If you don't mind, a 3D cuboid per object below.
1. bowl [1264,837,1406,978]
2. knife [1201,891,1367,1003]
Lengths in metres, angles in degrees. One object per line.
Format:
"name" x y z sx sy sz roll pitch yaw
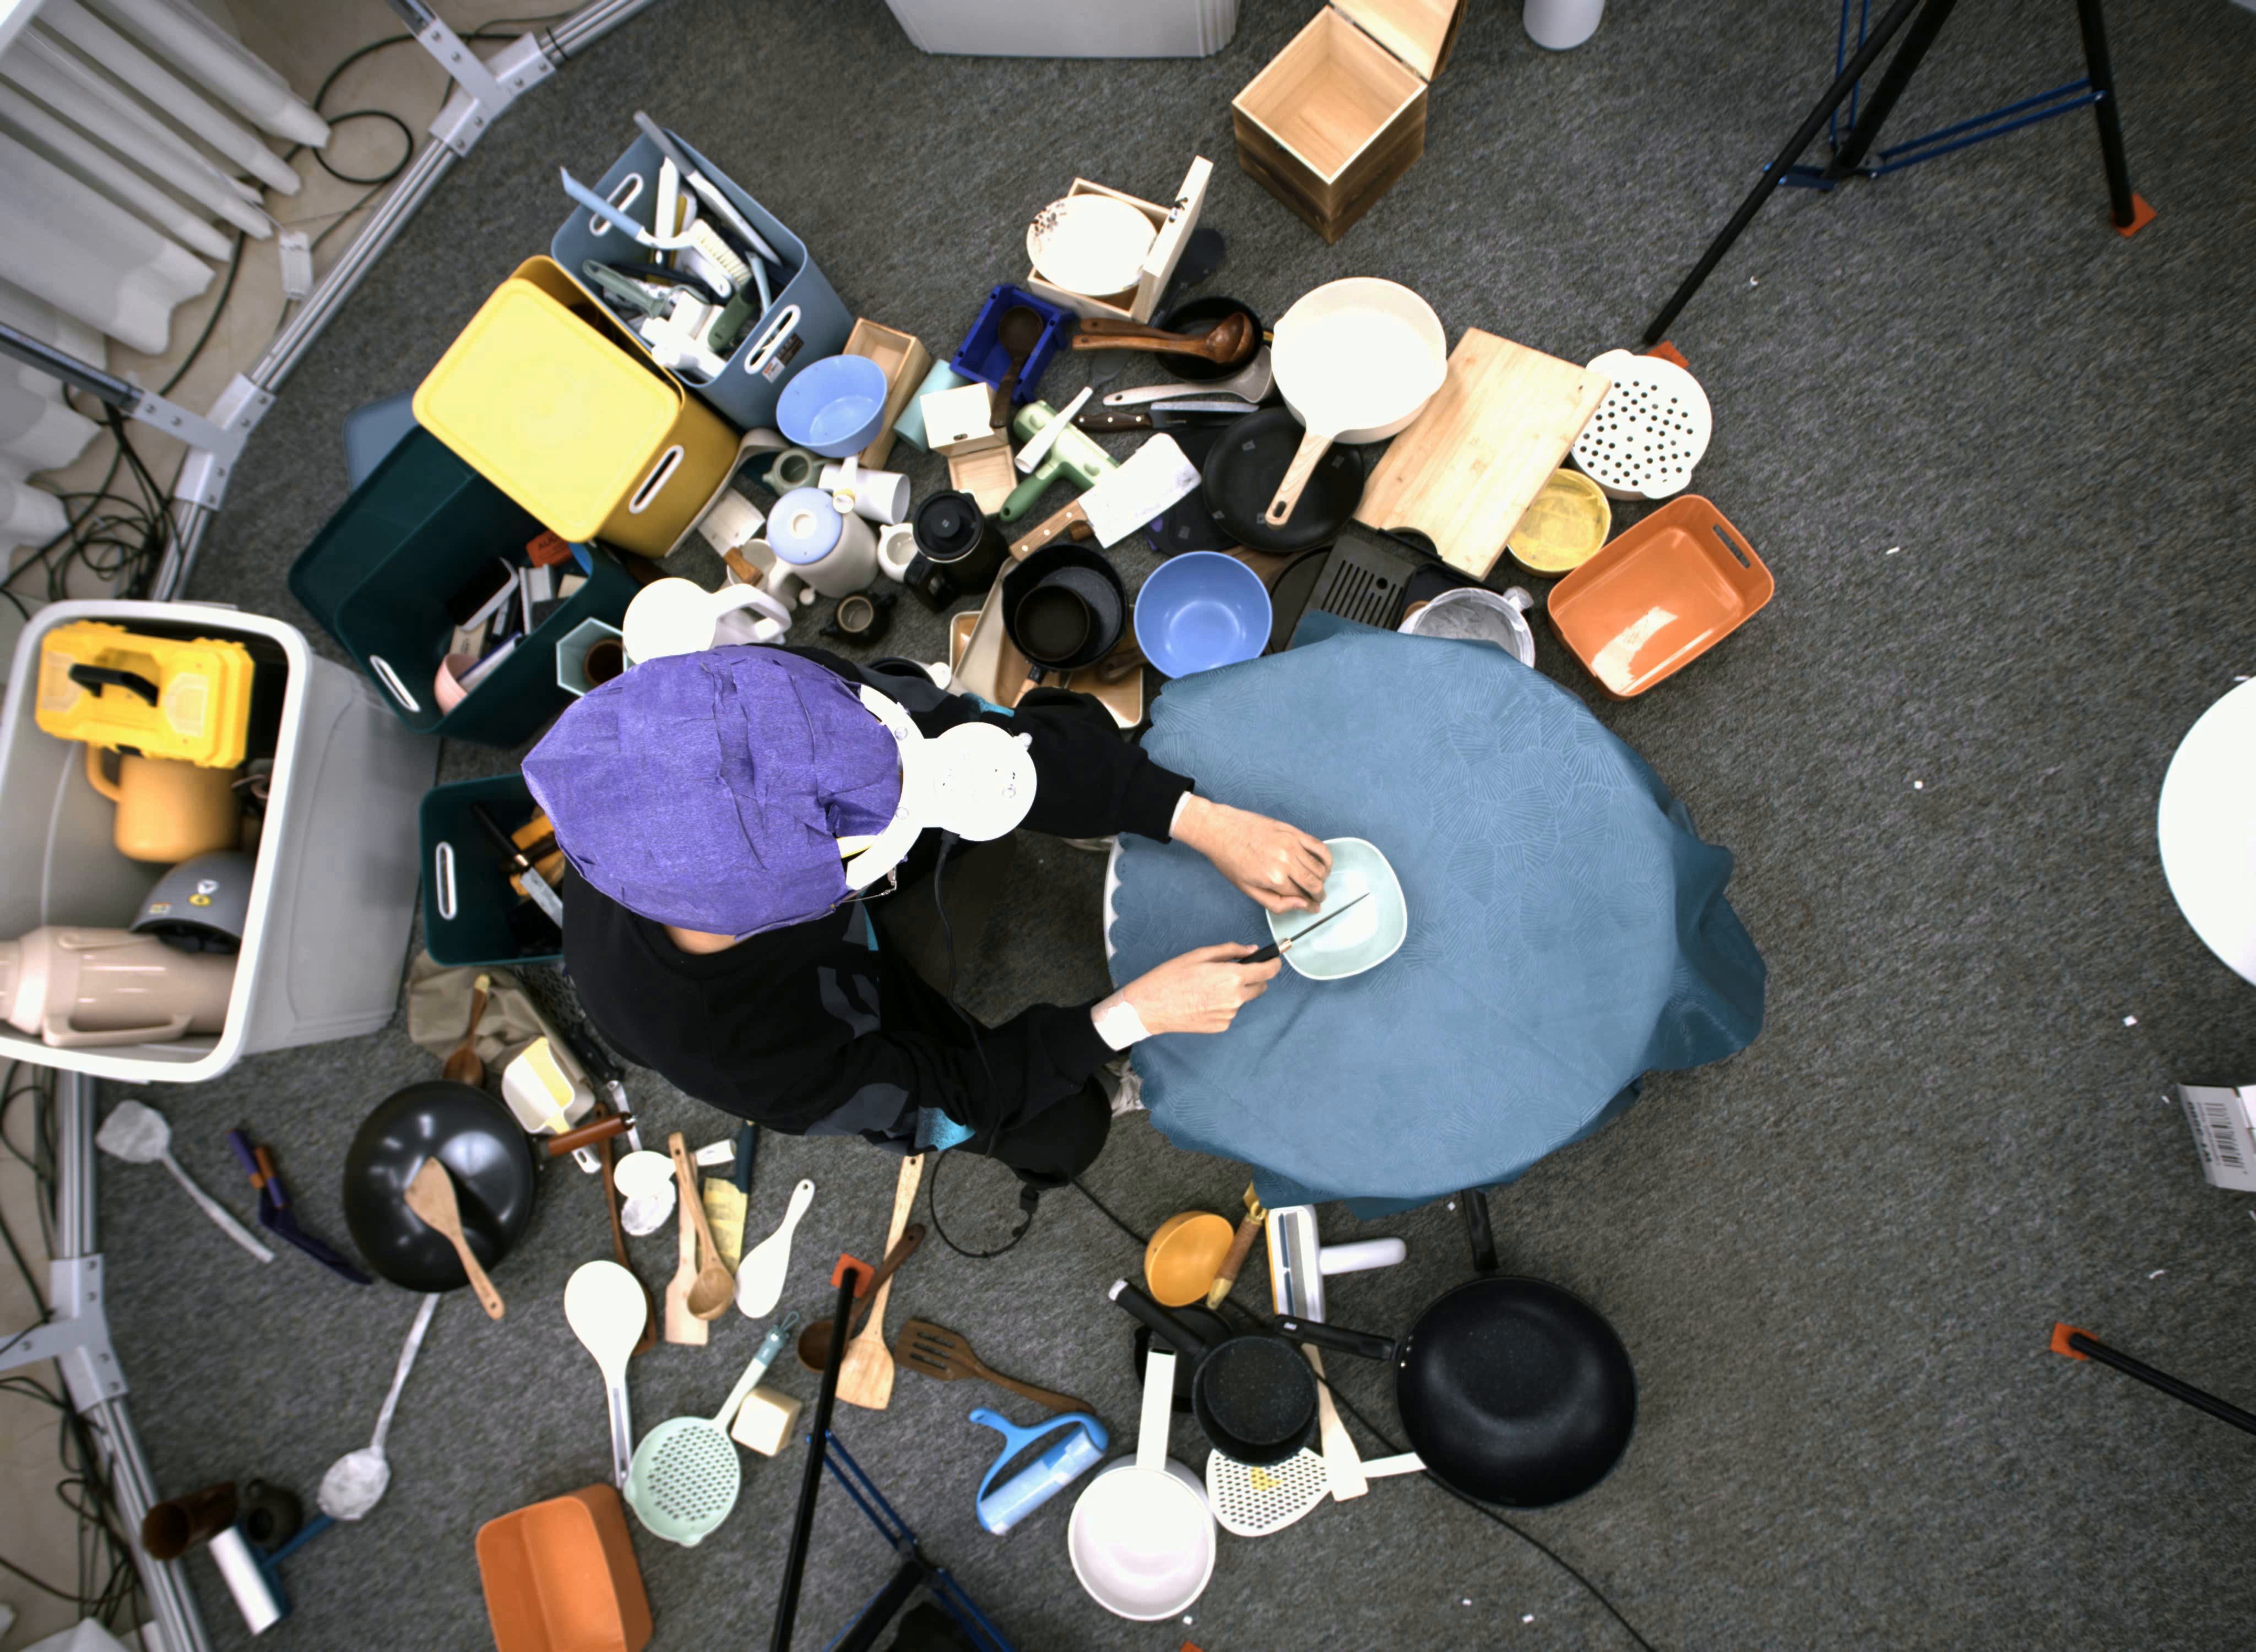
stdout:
"bowl" 0.215 0.085 1.441 0.152 0.058 0.151 -1 88 9
"knife" 0.161 0.117 1.391 0.222 0.026 0.017 -30 85 -22
